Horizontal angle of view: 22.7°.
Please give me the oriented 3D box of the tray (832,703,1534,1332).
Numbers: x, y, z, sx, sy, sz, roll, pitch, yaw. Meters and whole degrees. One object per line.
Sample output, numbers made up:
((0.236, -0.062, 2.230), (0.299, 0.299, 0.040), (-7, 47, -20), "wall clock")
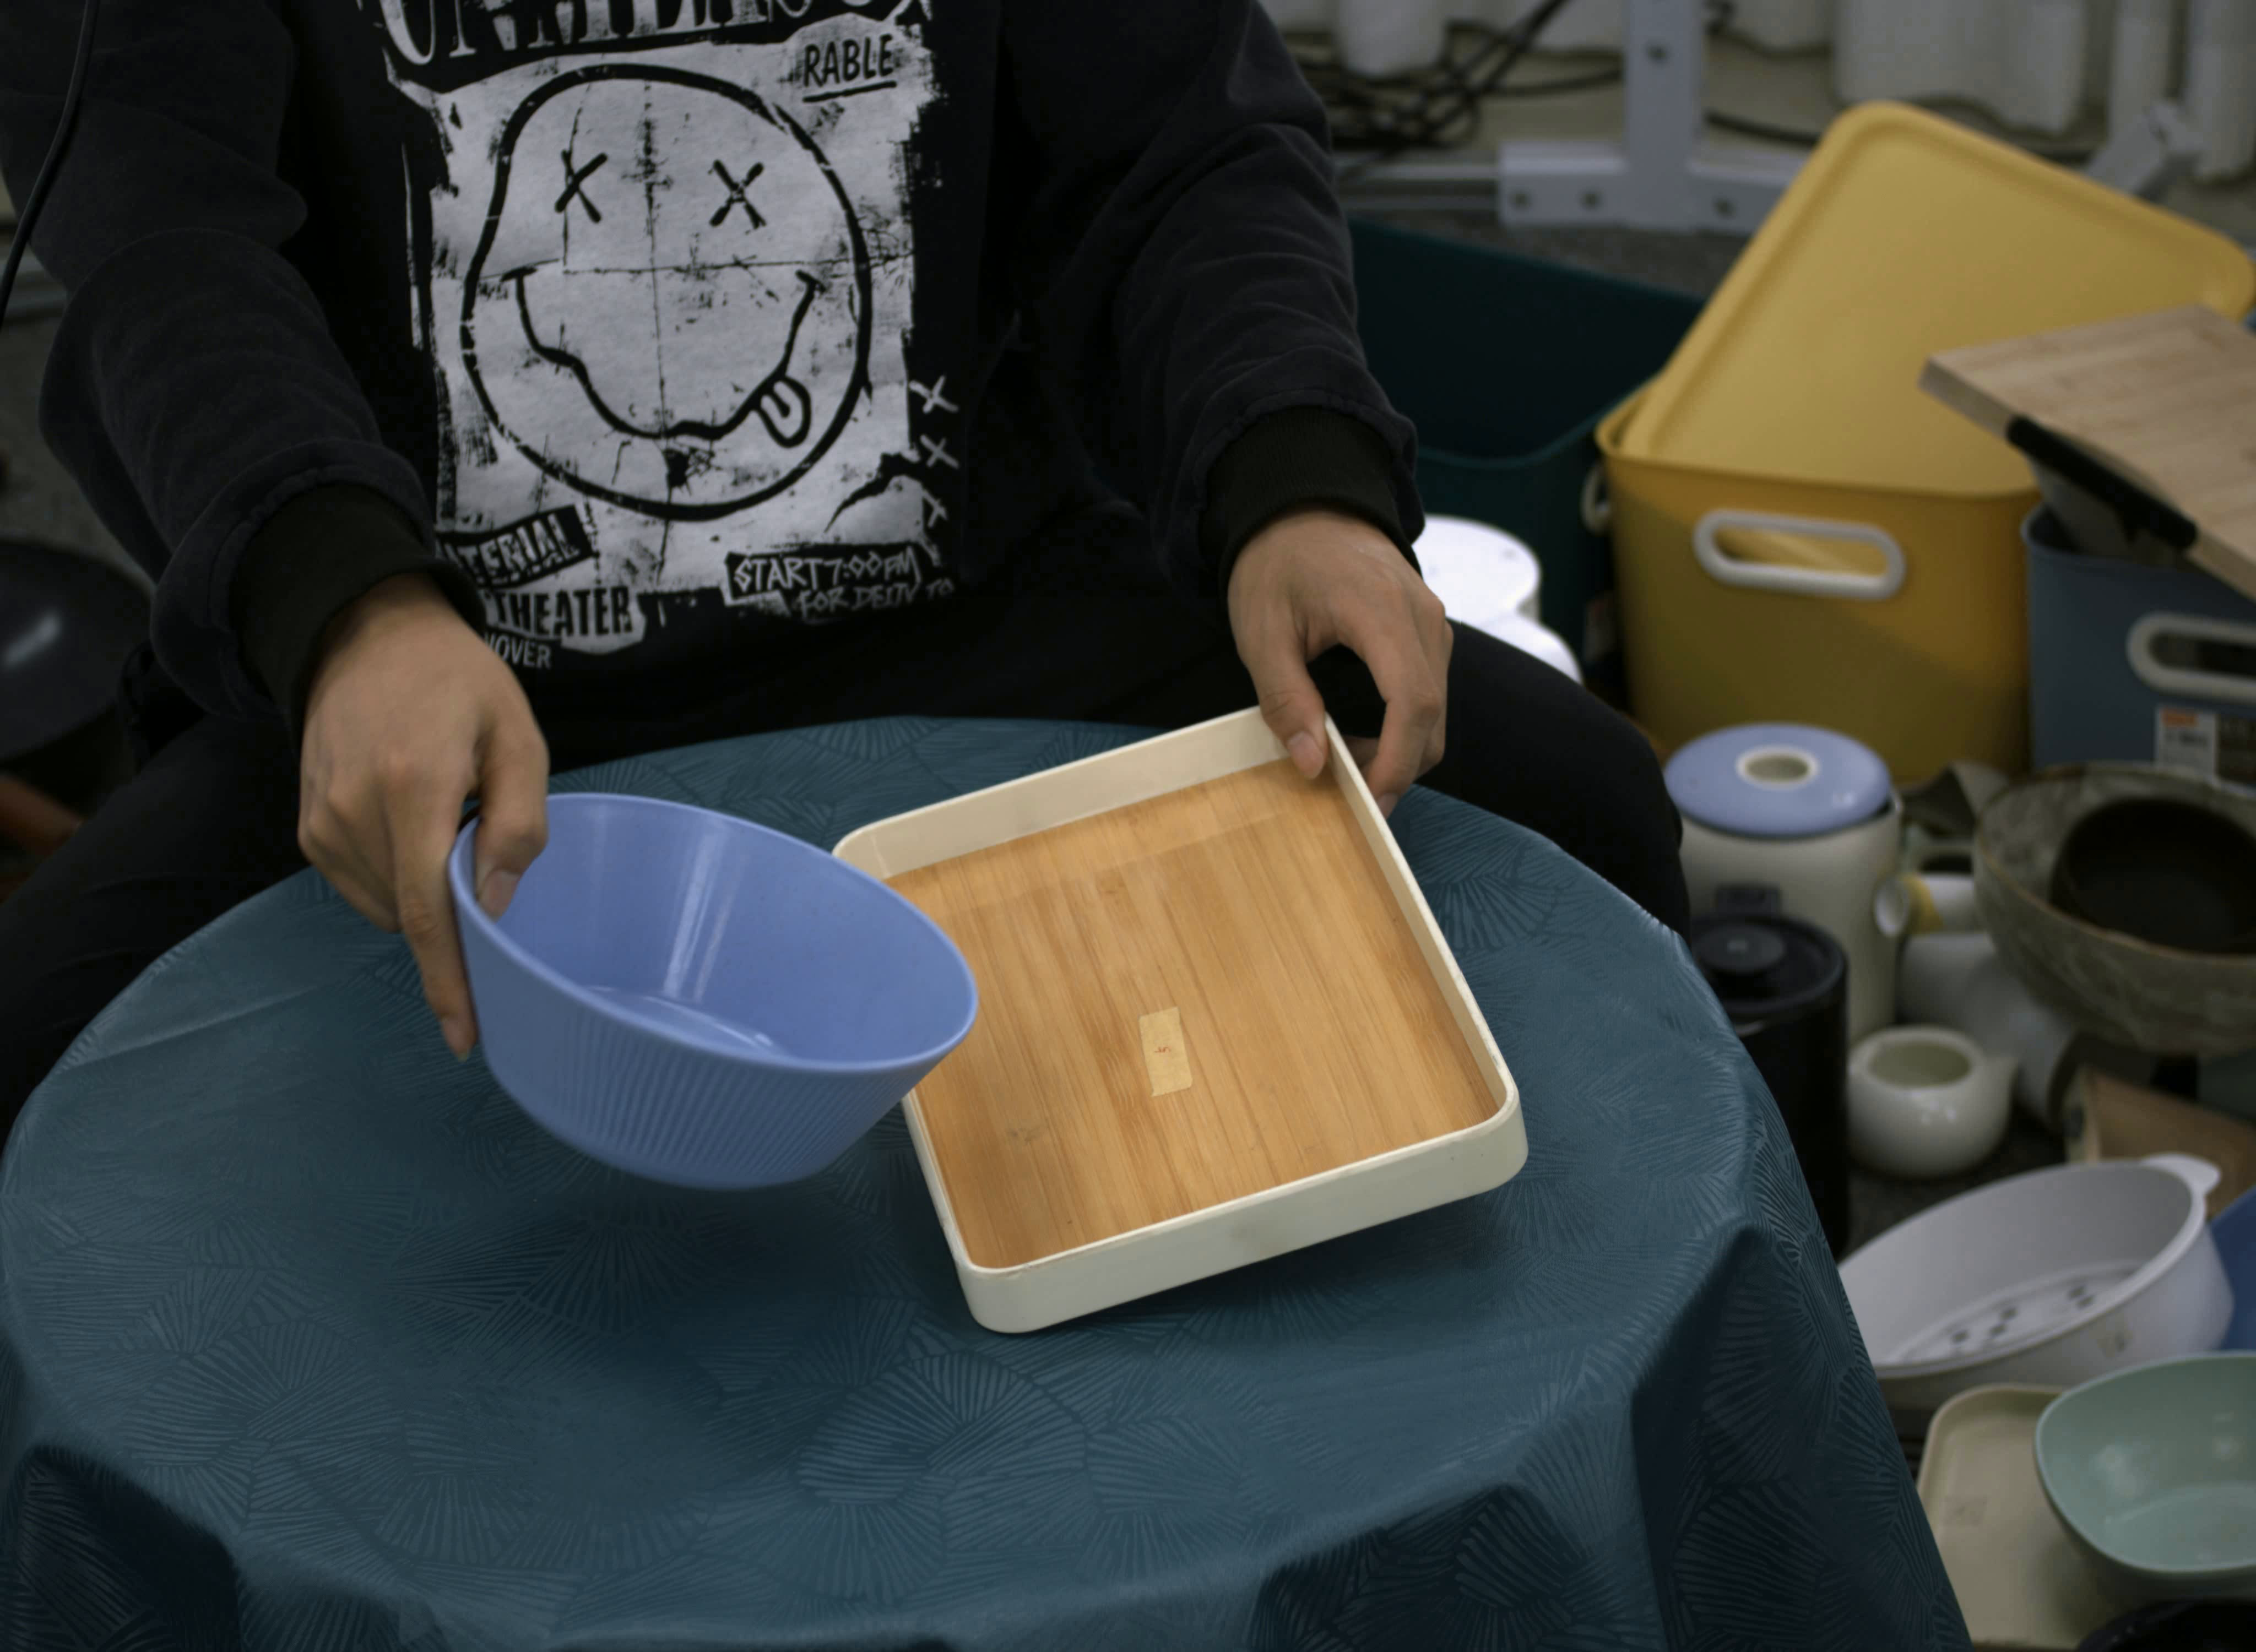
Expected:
((0.013, 0.059, 1.912), (0.191, 0.027, 0.304), (-16, 30, -4), "tray")

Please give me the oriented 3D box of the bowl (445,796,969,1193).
((-0.144, 0.061, 1.809), (0.175, 0.069, 0.178), (18, 22, -7), "bowl")
